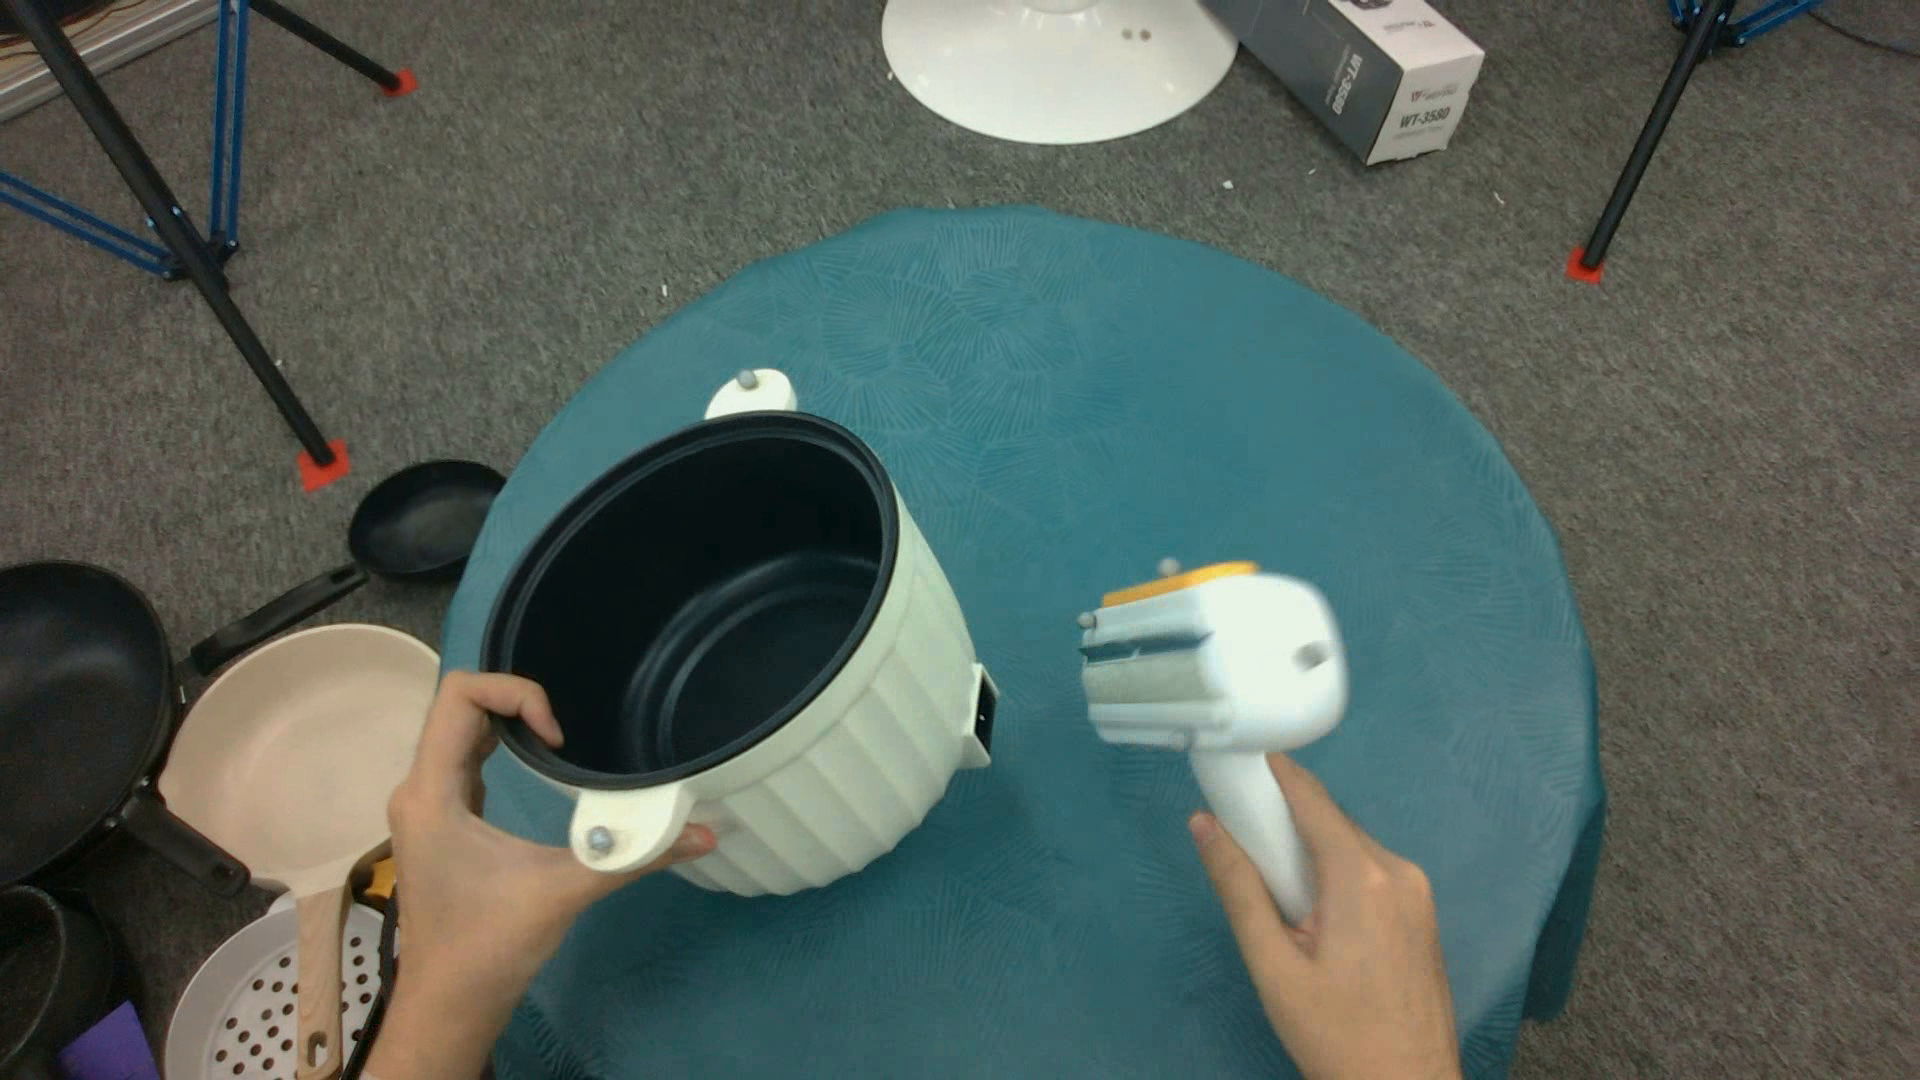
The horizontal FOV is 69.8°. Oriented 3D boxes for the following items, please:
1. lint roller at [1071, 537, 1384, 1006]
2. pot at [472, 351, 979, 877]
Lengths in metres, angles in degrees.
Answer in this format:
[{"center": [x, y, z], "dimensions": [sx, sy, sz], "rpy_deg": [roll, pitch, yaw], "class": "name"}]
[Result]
[{"center": [0.117, 0.099, 0.561], "dimensions": [0.074, 0.192, 0.192], "rpy_deg": [-10, 87, -23], "class": "lint roller"}, {"center": [-0.098, 0.049, 0.595], "dimensions": [0.190, 0.142, 0.241], "rpy_deg": [-6, 51, 13], "class": "pot"}]
